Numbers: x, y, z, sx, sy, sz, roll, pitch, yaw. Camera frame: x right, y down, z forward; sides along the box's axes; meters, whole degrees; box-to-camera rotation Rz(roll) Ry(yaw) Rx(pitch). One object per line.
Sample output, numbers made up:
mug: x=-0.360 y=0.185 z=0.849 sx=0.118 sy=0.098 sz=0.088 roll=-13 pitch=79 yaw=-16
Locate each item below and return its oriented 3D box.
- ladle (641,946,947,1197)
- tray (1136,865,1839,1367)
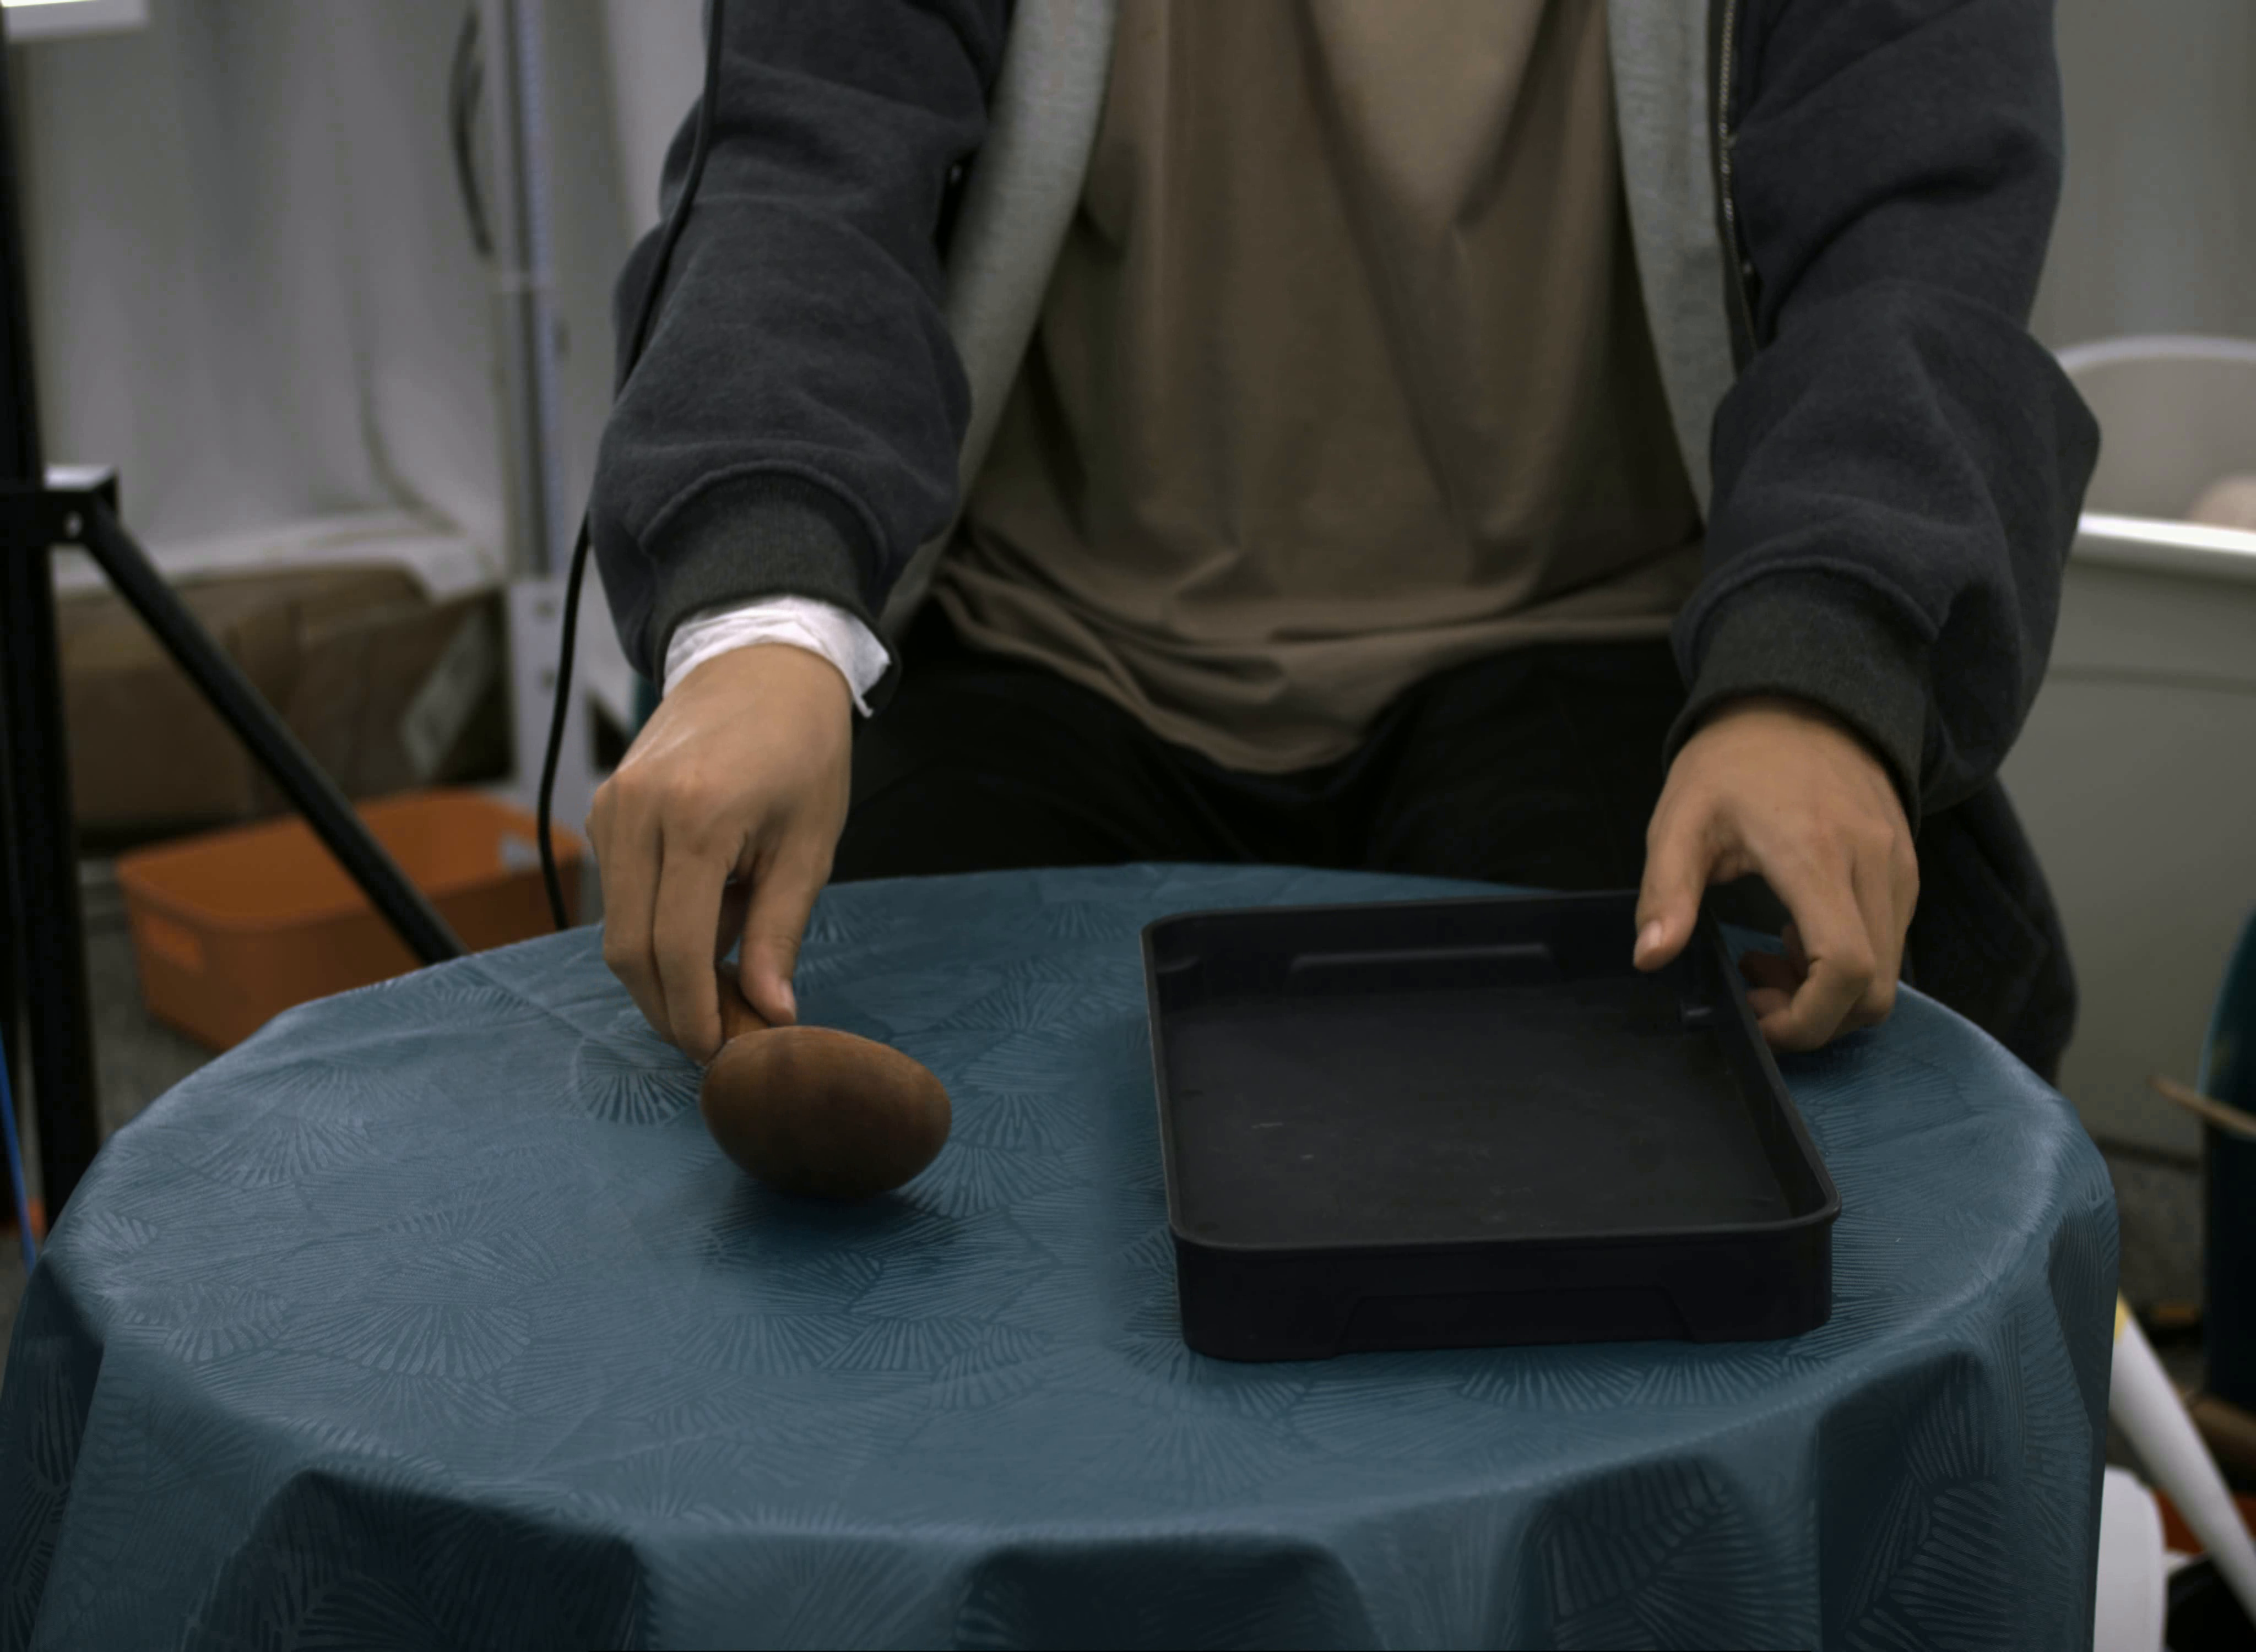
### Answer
ladle: x=-0.113 y=0.058 z=1.639 sx=0.075 sy=0.065 sz=0.263 roll=21 pitch=9 yaw=-17
tray: x=0.098 y=0.080 z=1.567 sx=0.183 sy=0.037 sz=0.319 roll=-3 pitch=17 yaw=0
